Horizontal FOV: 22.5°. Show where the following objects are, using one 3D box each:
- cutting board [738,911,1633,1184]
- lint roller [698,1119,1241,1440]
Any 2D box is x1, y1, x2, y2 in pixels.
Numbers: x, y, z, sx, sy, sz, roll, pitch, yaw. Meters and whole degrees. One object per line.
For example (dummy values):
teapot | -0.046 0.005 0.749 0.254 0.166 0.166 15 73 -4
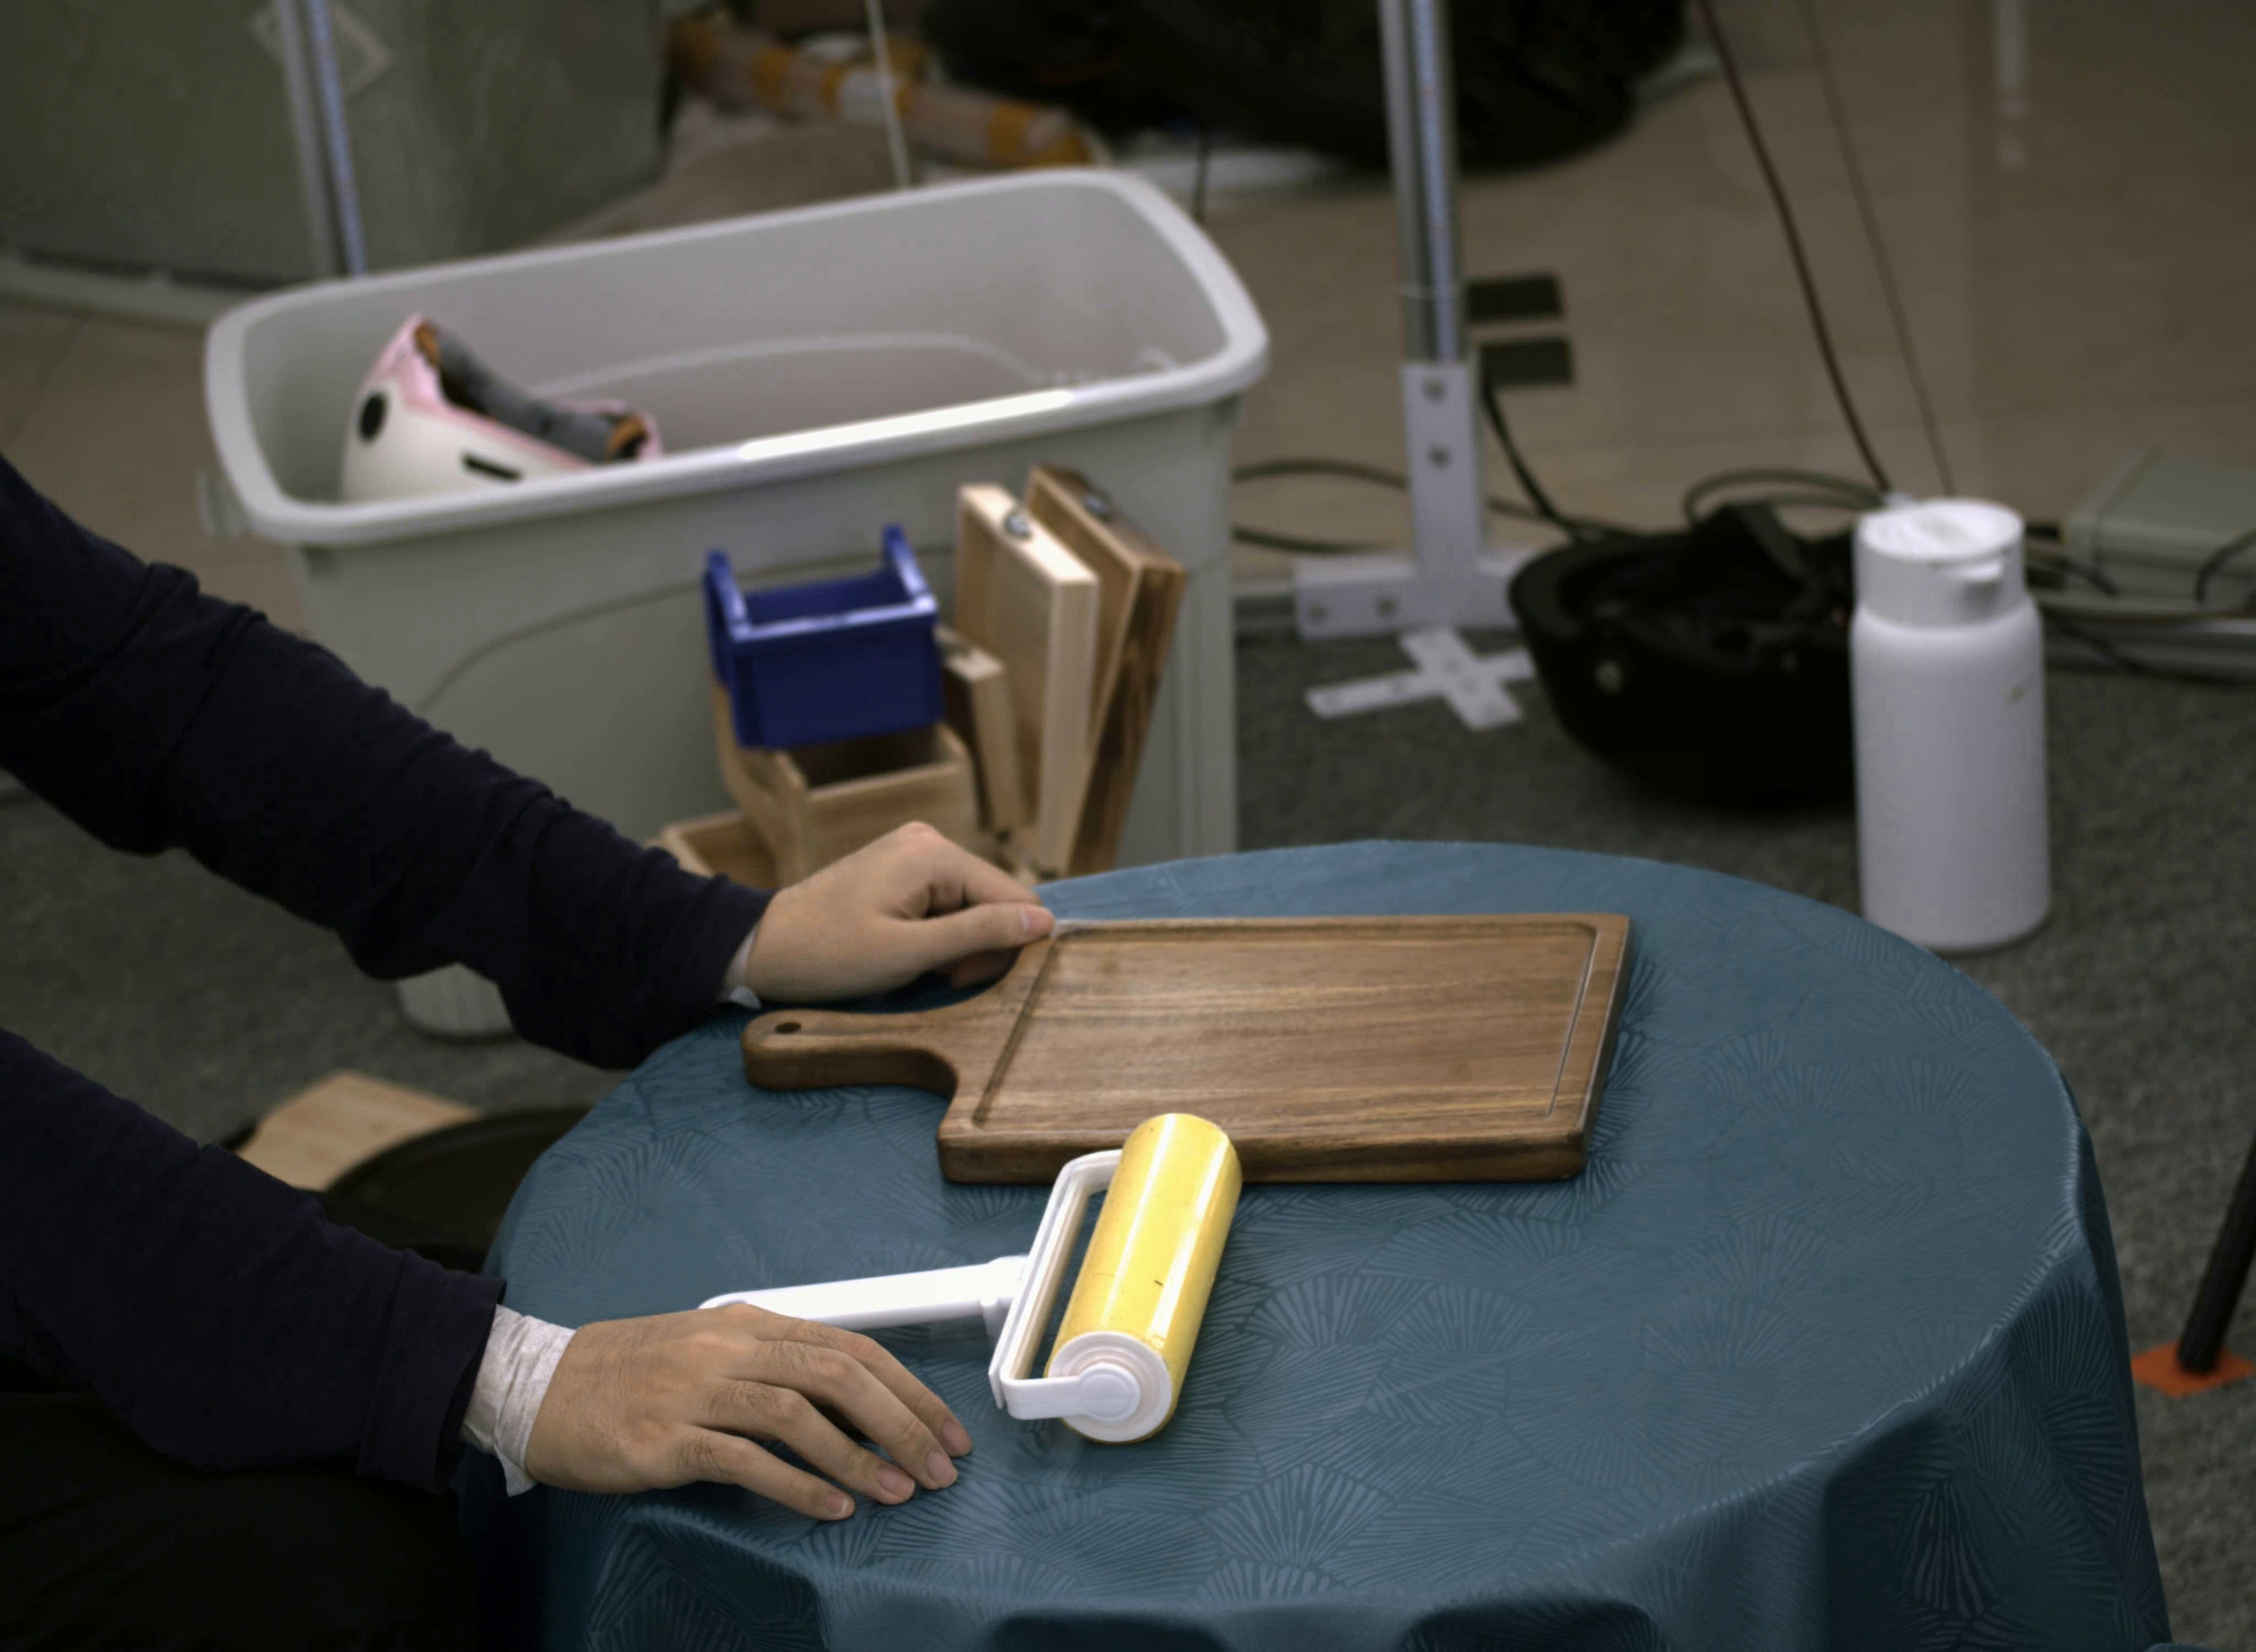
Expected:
cutting board | 0.017 0.086 2.236 0.351 0.023 0.198 -1 25 12
lint roller | -0.063 0.163 2.055 0.191 0.052 0.172 1 25 8
